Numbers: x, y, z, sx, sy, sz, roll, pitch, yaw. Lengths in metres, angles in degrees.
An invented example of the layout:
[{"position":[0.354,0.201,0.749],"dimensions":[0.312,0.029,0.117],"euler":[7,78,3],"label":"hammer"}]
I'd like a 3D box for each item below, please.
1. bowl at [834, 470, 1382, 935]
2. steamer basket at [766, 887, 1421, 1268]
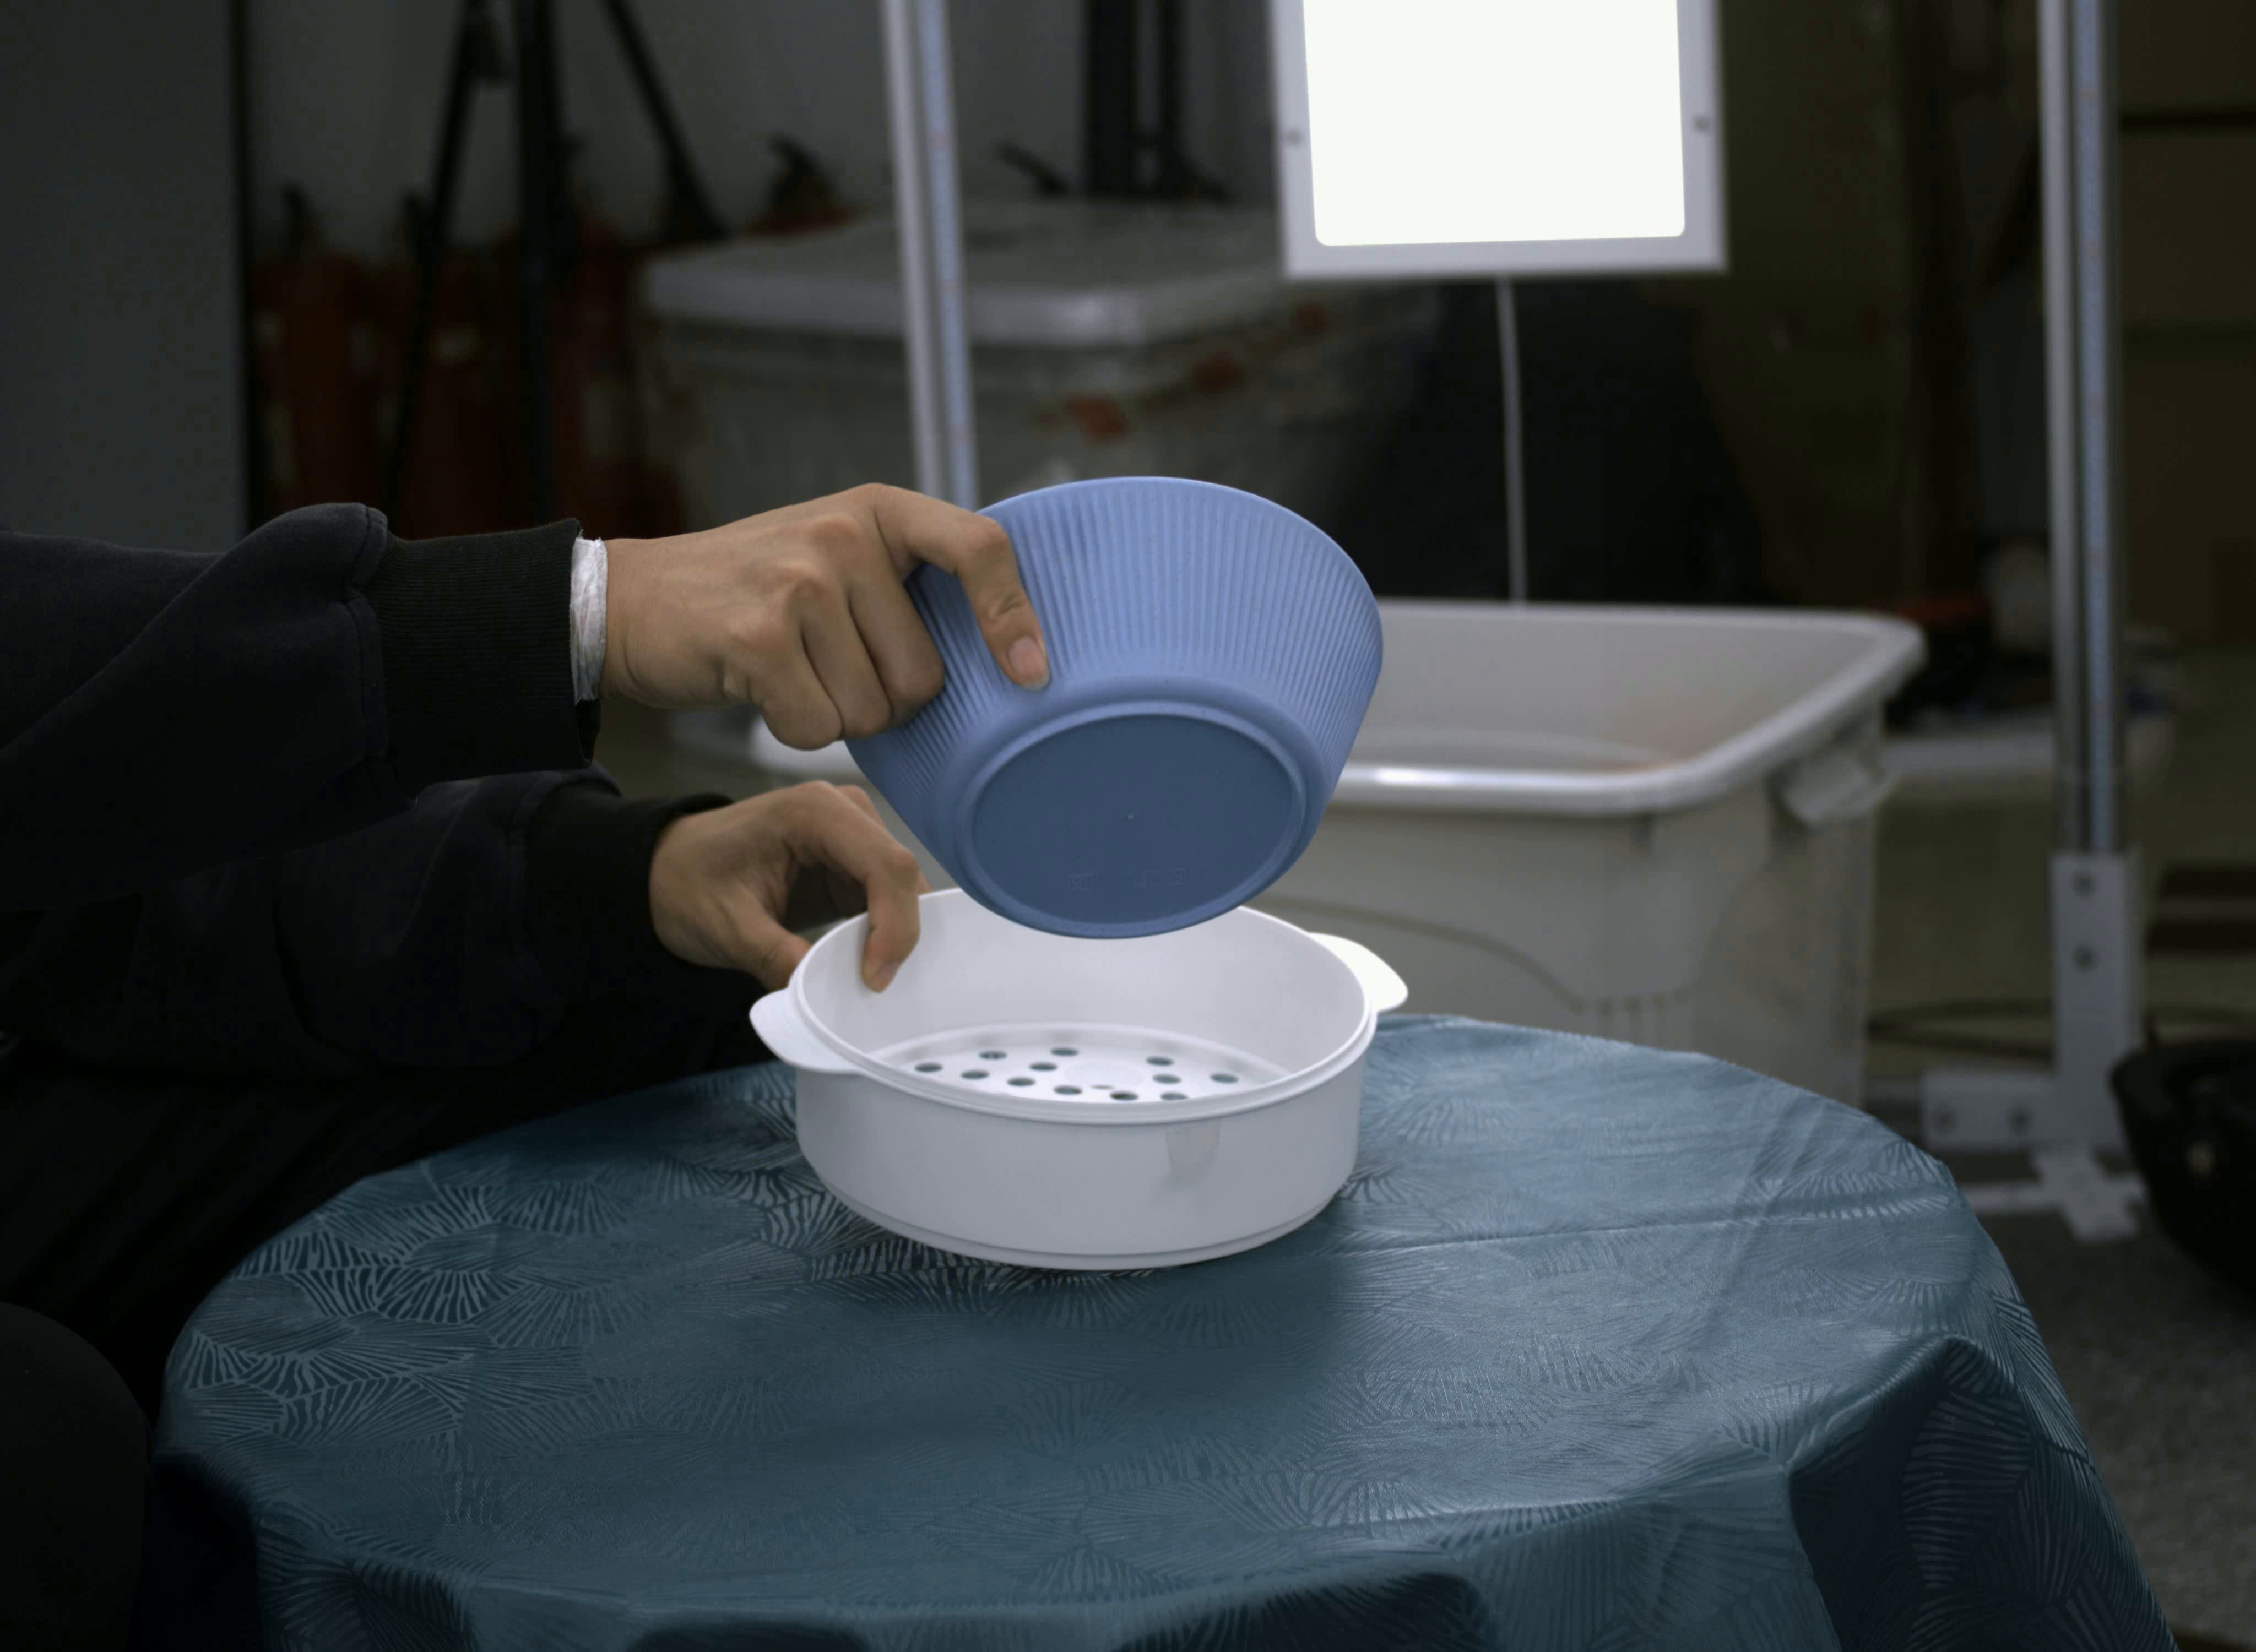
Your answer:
[{"position":[-0.003,-0.027,1.724],"dimensions":[0.175,0.177,0.070],"euler":[-4,49,-2],"label":"bowl"},{"position":[-0.012,0.085,1.884],"dimensions":[0.226,0.069,0.204],"euler":[-4,22,-21],"label":"steamer basket"}]
